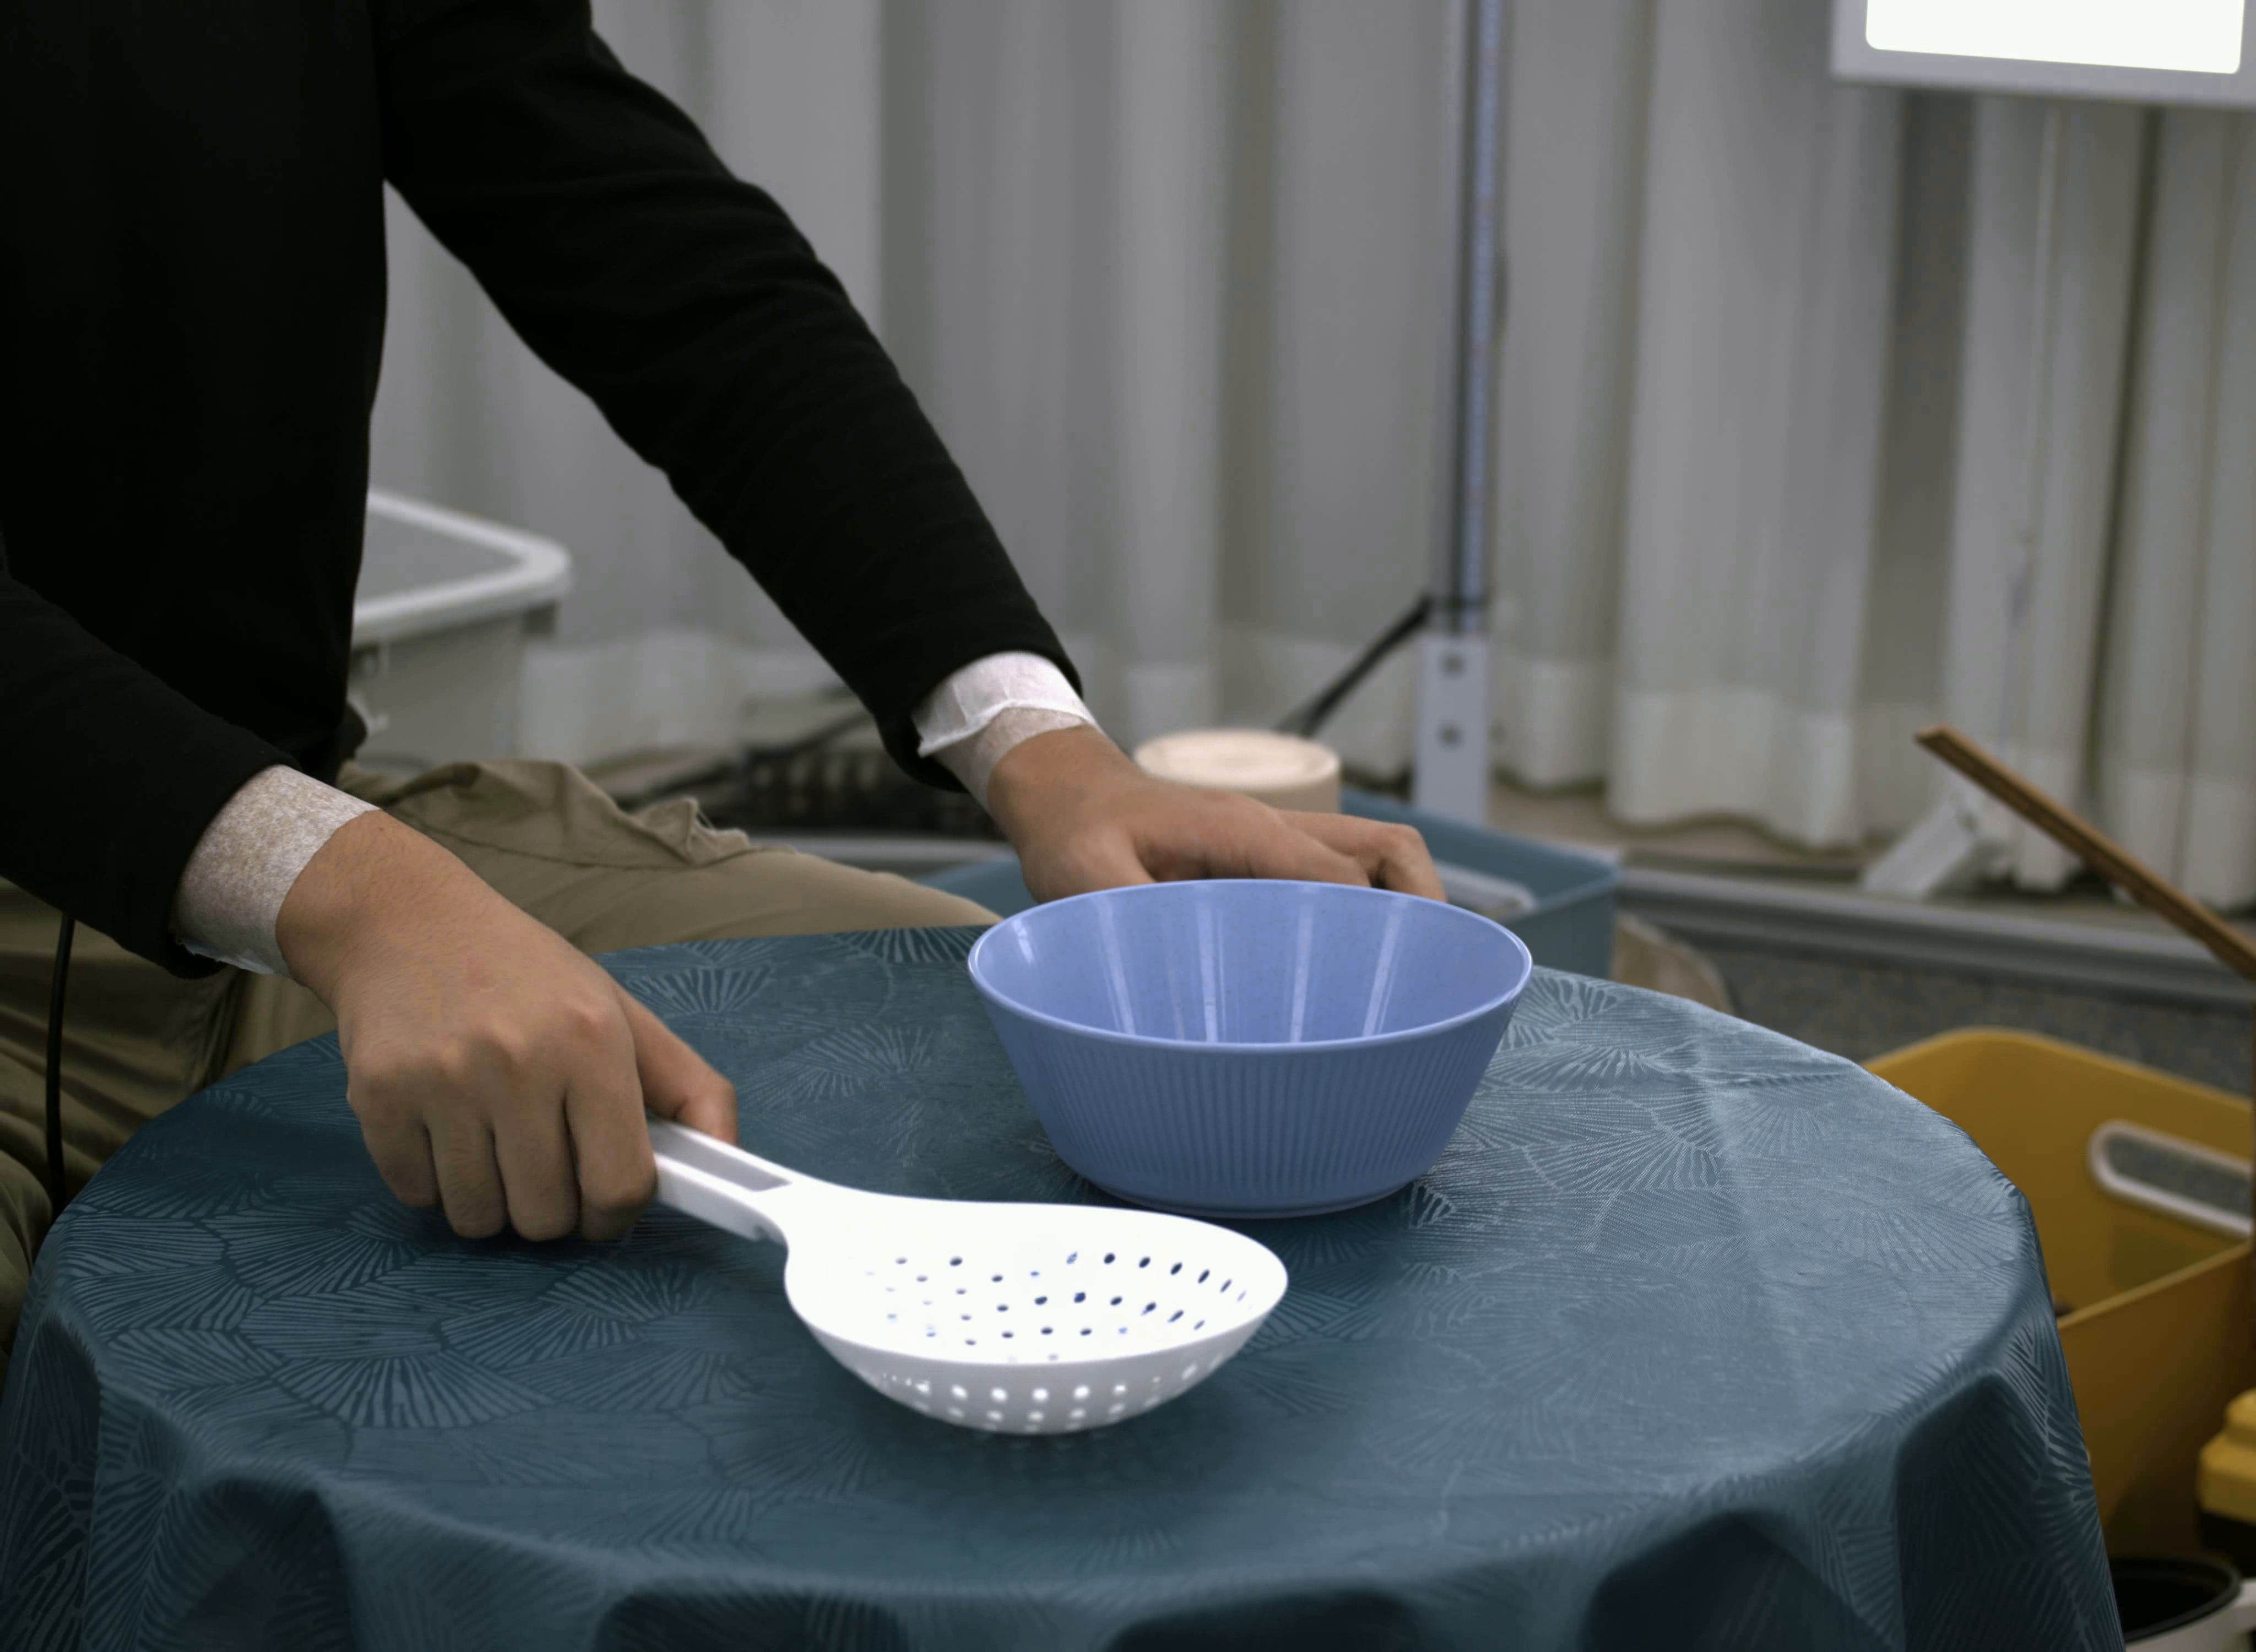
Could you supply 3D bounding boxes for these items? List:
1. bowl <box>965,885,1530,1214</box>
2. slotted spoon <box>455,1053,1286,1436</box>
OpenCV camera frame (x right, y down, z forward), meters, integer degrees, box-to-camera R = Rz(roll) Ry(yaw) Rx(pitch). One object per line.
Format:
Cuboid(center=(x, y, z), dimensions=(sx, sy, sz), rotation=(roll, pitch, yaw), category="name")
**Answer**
Cuboid(center=(0.037, 0.071, 1.639), dimensions=(0.175, 0.071, 0.175), rotation=(0, 15, 1), category="bowl")
Cuboid(center=(-0.092, 0.111, 1.510), dimensions=(0.136, 0.046, 0.345), rotation=(-13, 24, -37), category="slotted spoon")
